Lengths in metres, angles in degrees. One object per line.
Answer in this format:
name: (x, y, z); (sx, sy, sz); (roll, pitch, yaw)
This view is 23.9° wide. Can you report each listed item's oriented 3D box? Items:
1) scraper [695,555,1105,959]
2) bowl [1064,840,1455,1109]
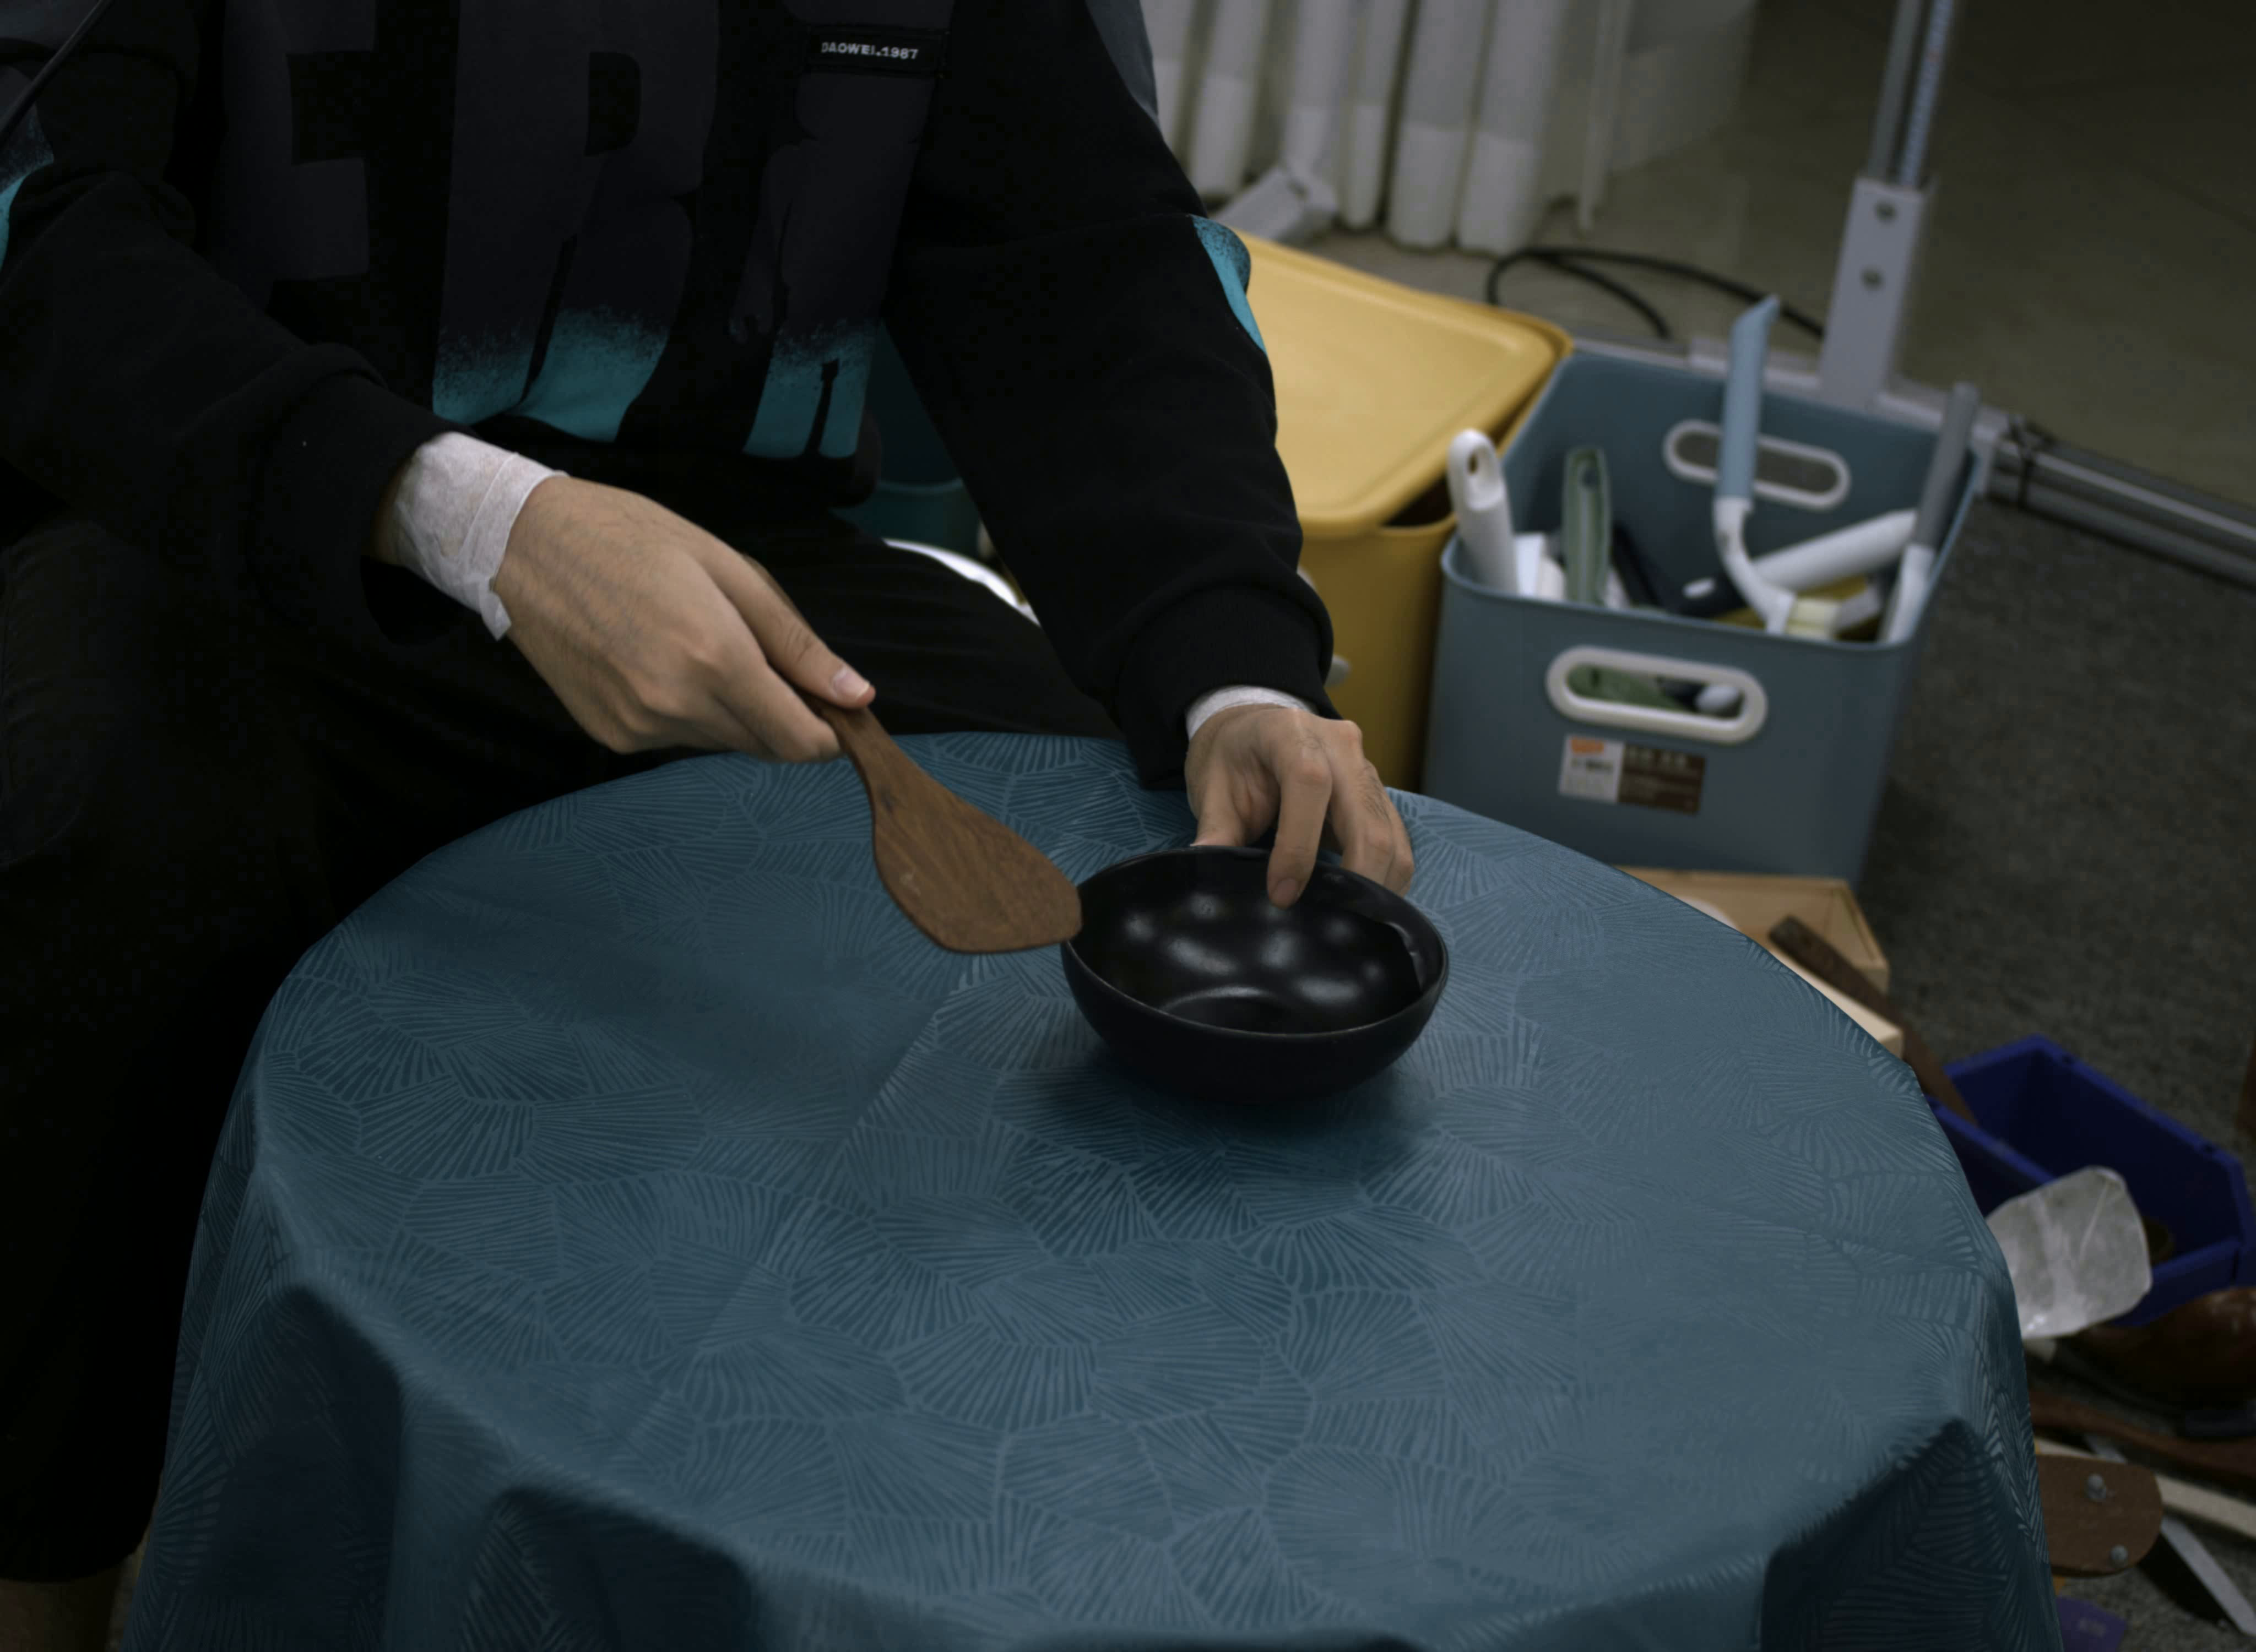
scraper: (-0.088, -0.025, 1.827); (0.075, 0.011, 0.213); (-7, 46, -40)
bowl: (0.044, 0.060, 1.879); (0.139, 0.049, 0.141); (4, 29, -3)
